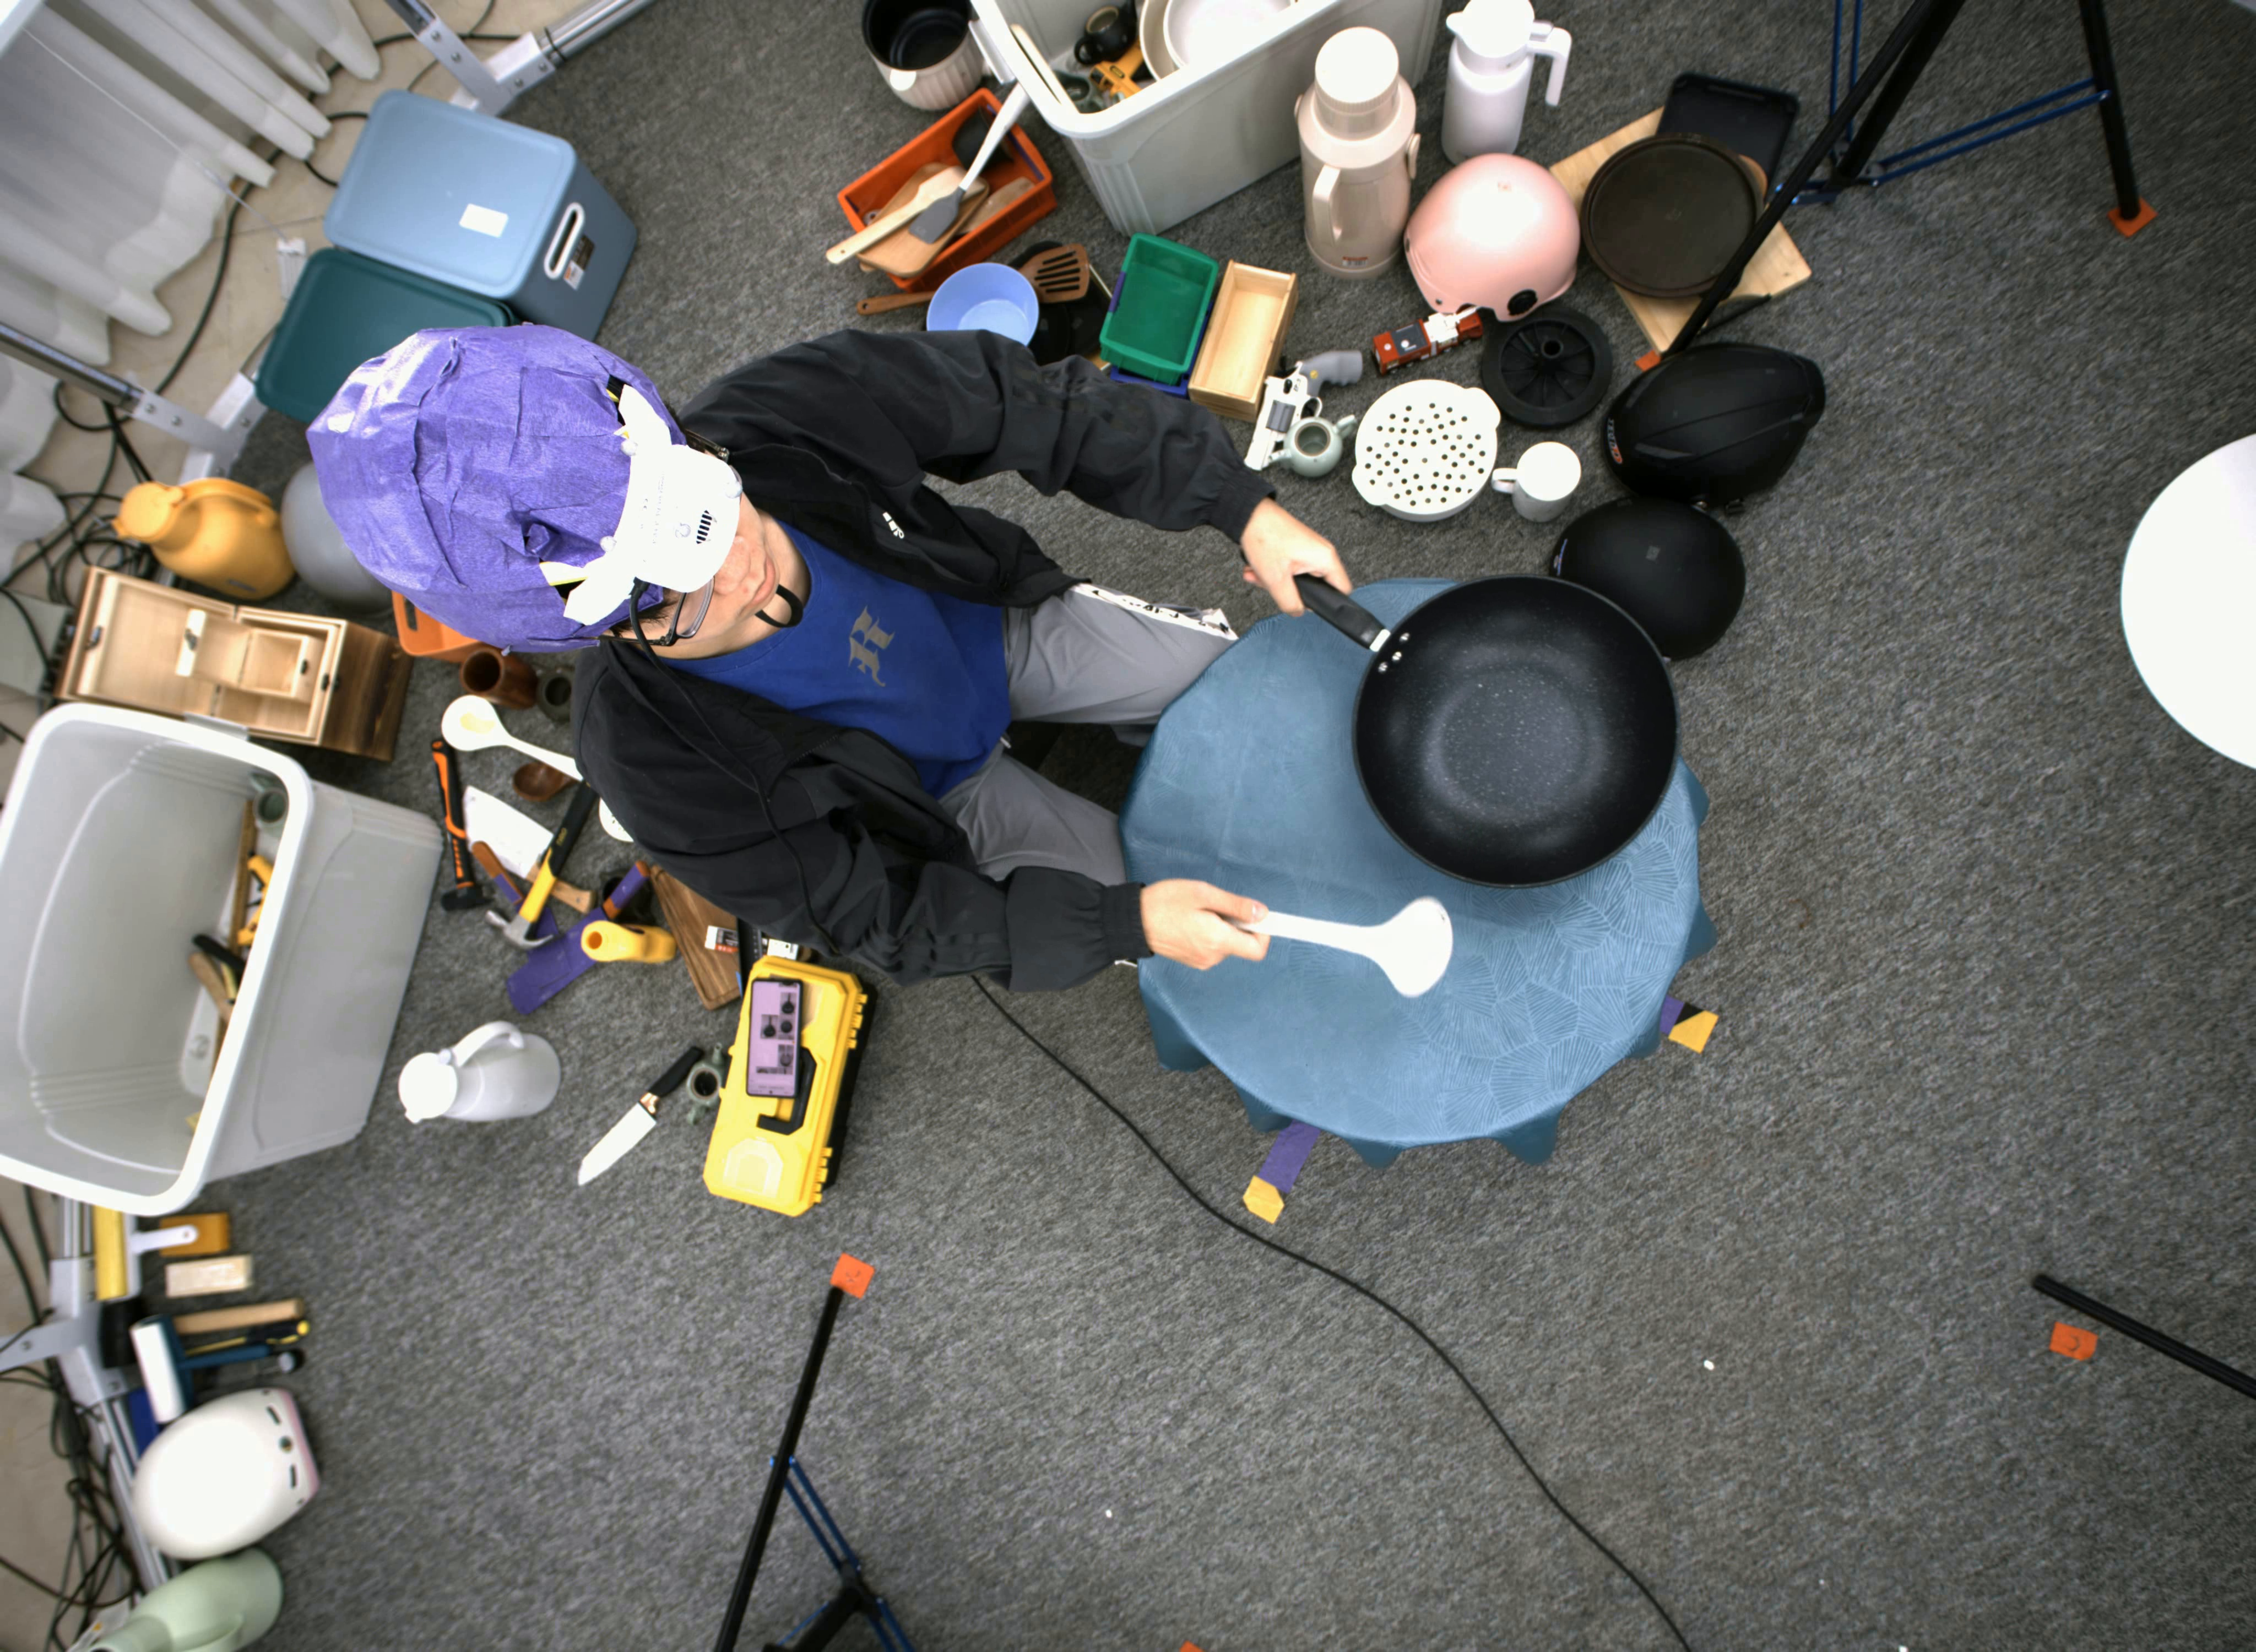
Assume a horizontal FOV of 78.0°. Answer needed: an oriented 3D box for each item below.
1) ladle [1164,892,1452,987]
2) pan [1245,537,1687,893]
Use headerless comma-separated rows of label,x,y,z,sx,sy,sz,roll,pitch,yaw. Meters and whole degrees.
ladle,0.163,0.086,1.290,0.275,0.070,0.088,10,81,12
pan,0.317,-0.138,1.364,0.475,0.111,0.312,37,96,14
